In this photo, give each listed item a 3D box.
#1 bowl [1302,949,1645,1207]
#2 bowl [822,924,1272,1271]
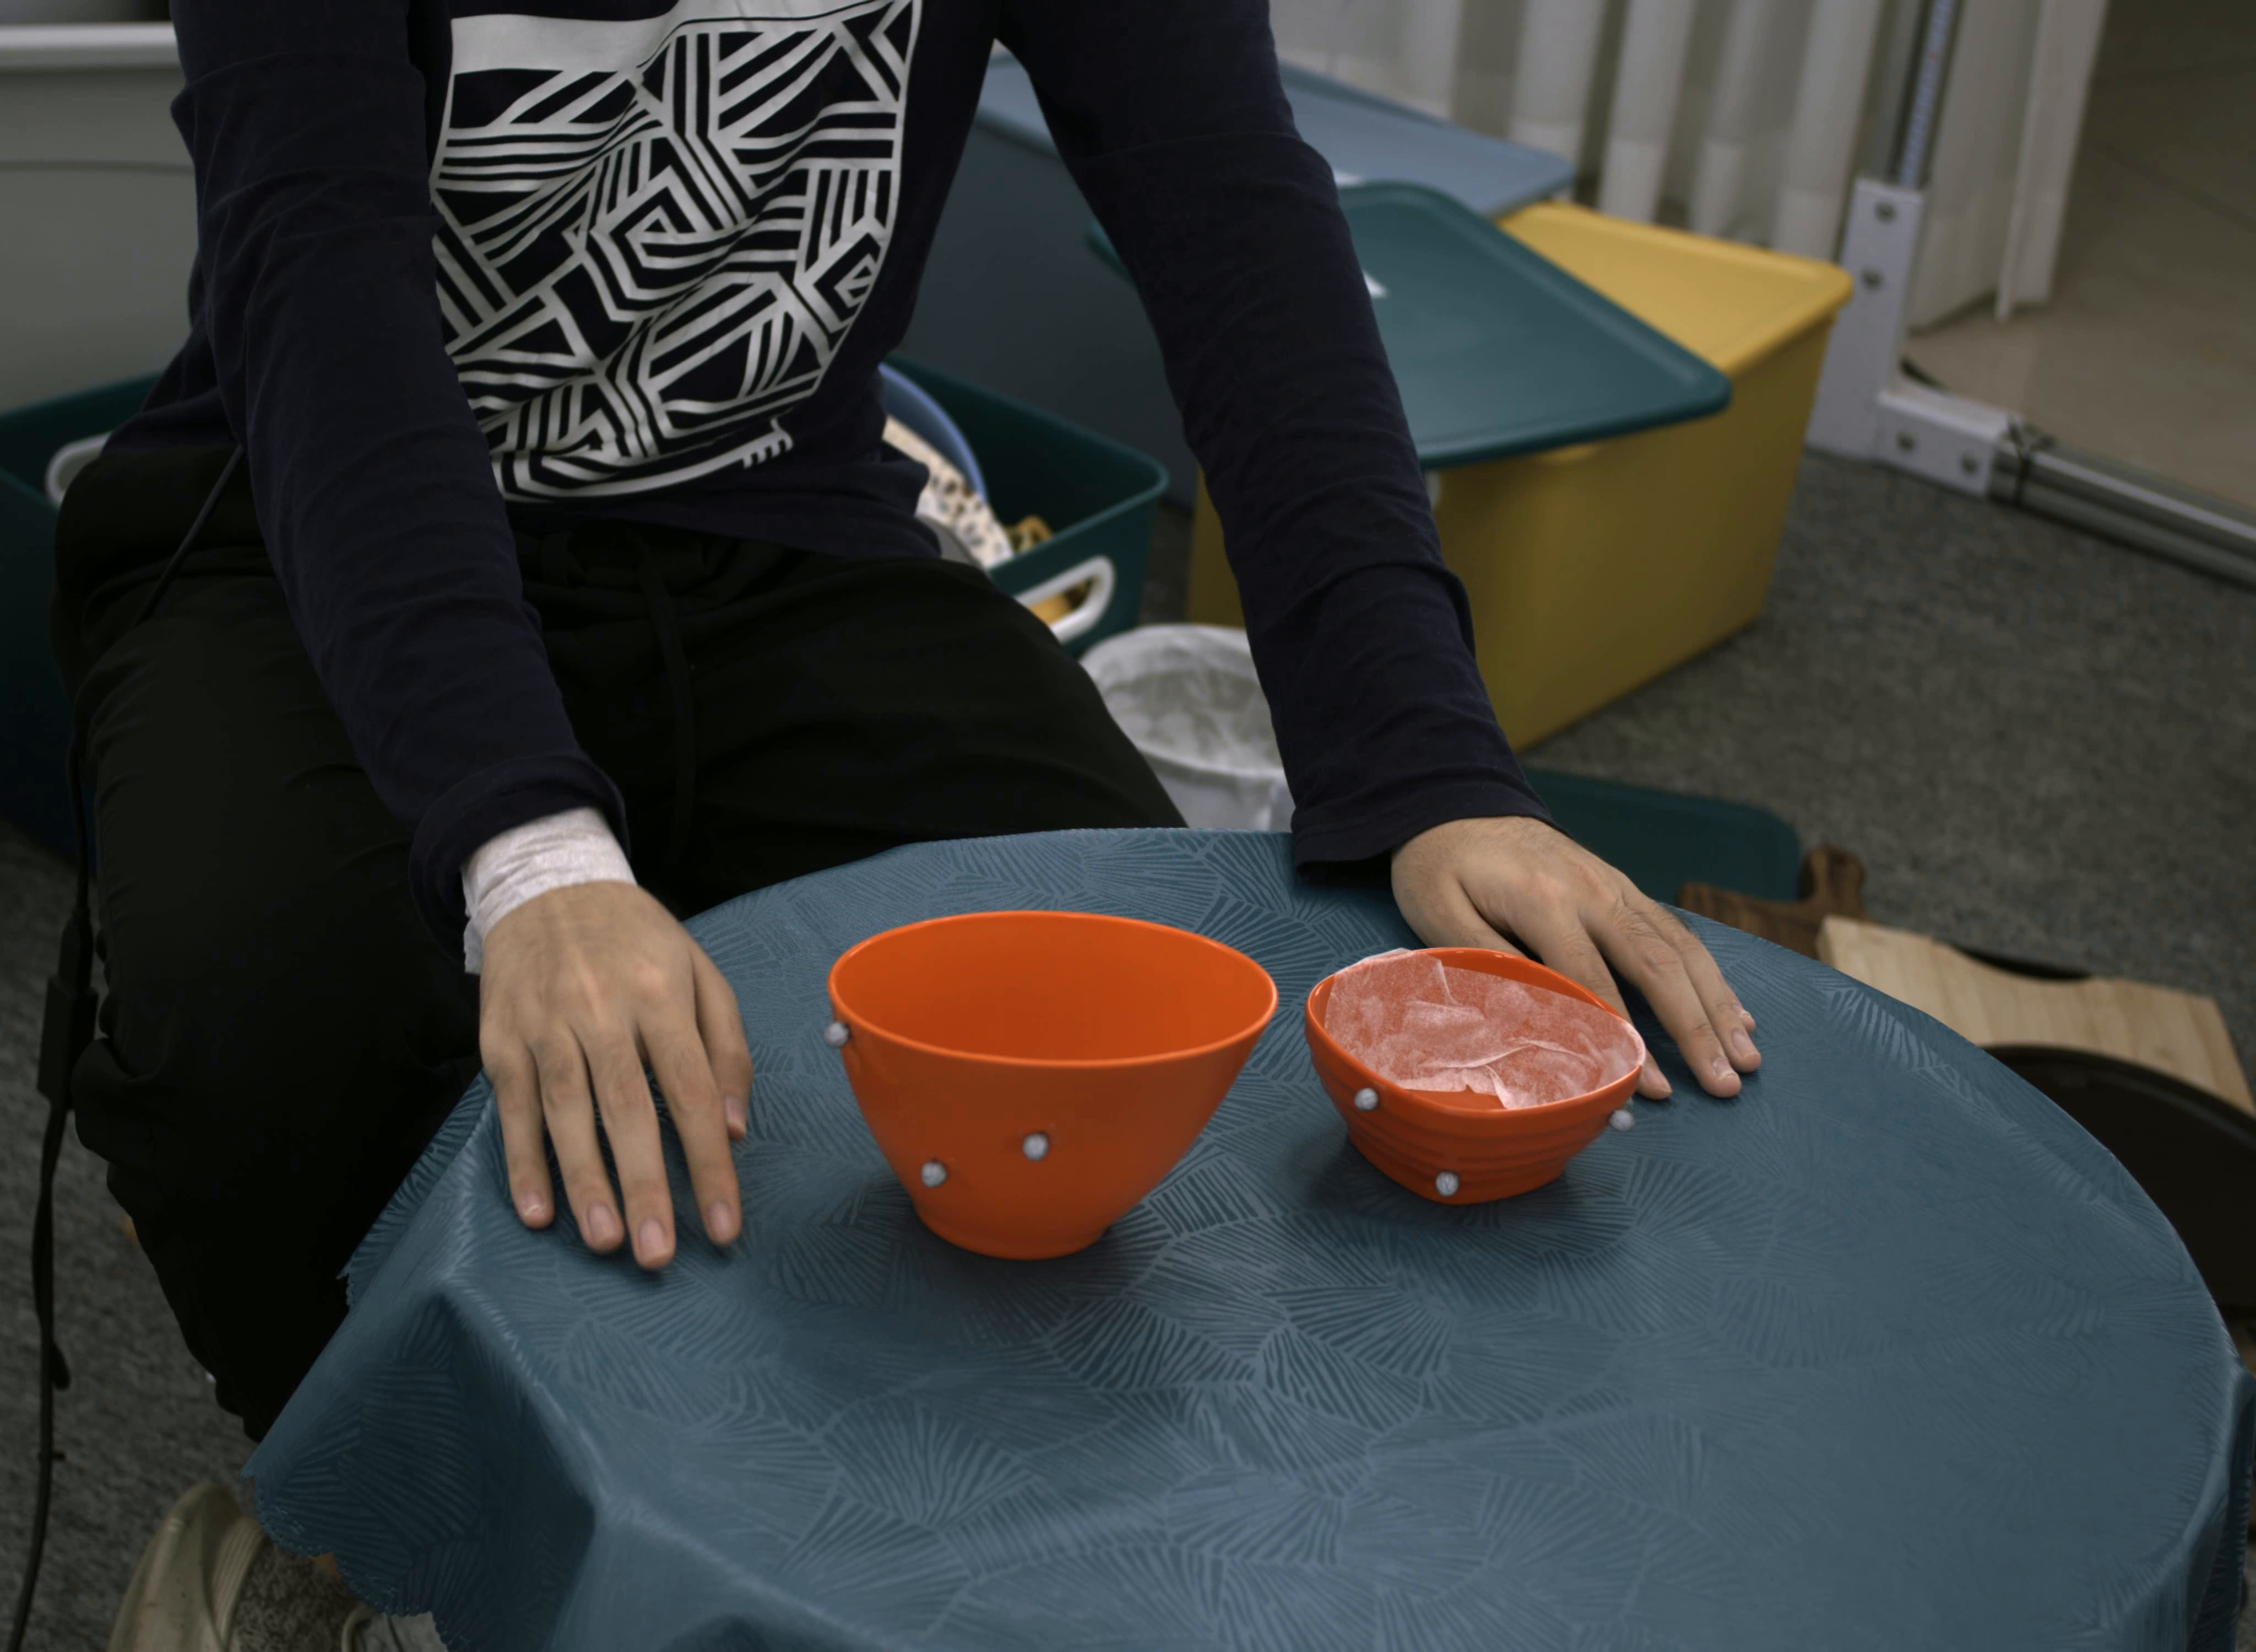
[{"bbox_3d":[0.117,0.091,1.843,0.118,0.051,0.119,3,26,-2],"label":"bowl"},{"bbox_3d":[-0.031,0.092,1.756,0.147,0.104,0.149,5,24,-3],"label":"bowl"}]
